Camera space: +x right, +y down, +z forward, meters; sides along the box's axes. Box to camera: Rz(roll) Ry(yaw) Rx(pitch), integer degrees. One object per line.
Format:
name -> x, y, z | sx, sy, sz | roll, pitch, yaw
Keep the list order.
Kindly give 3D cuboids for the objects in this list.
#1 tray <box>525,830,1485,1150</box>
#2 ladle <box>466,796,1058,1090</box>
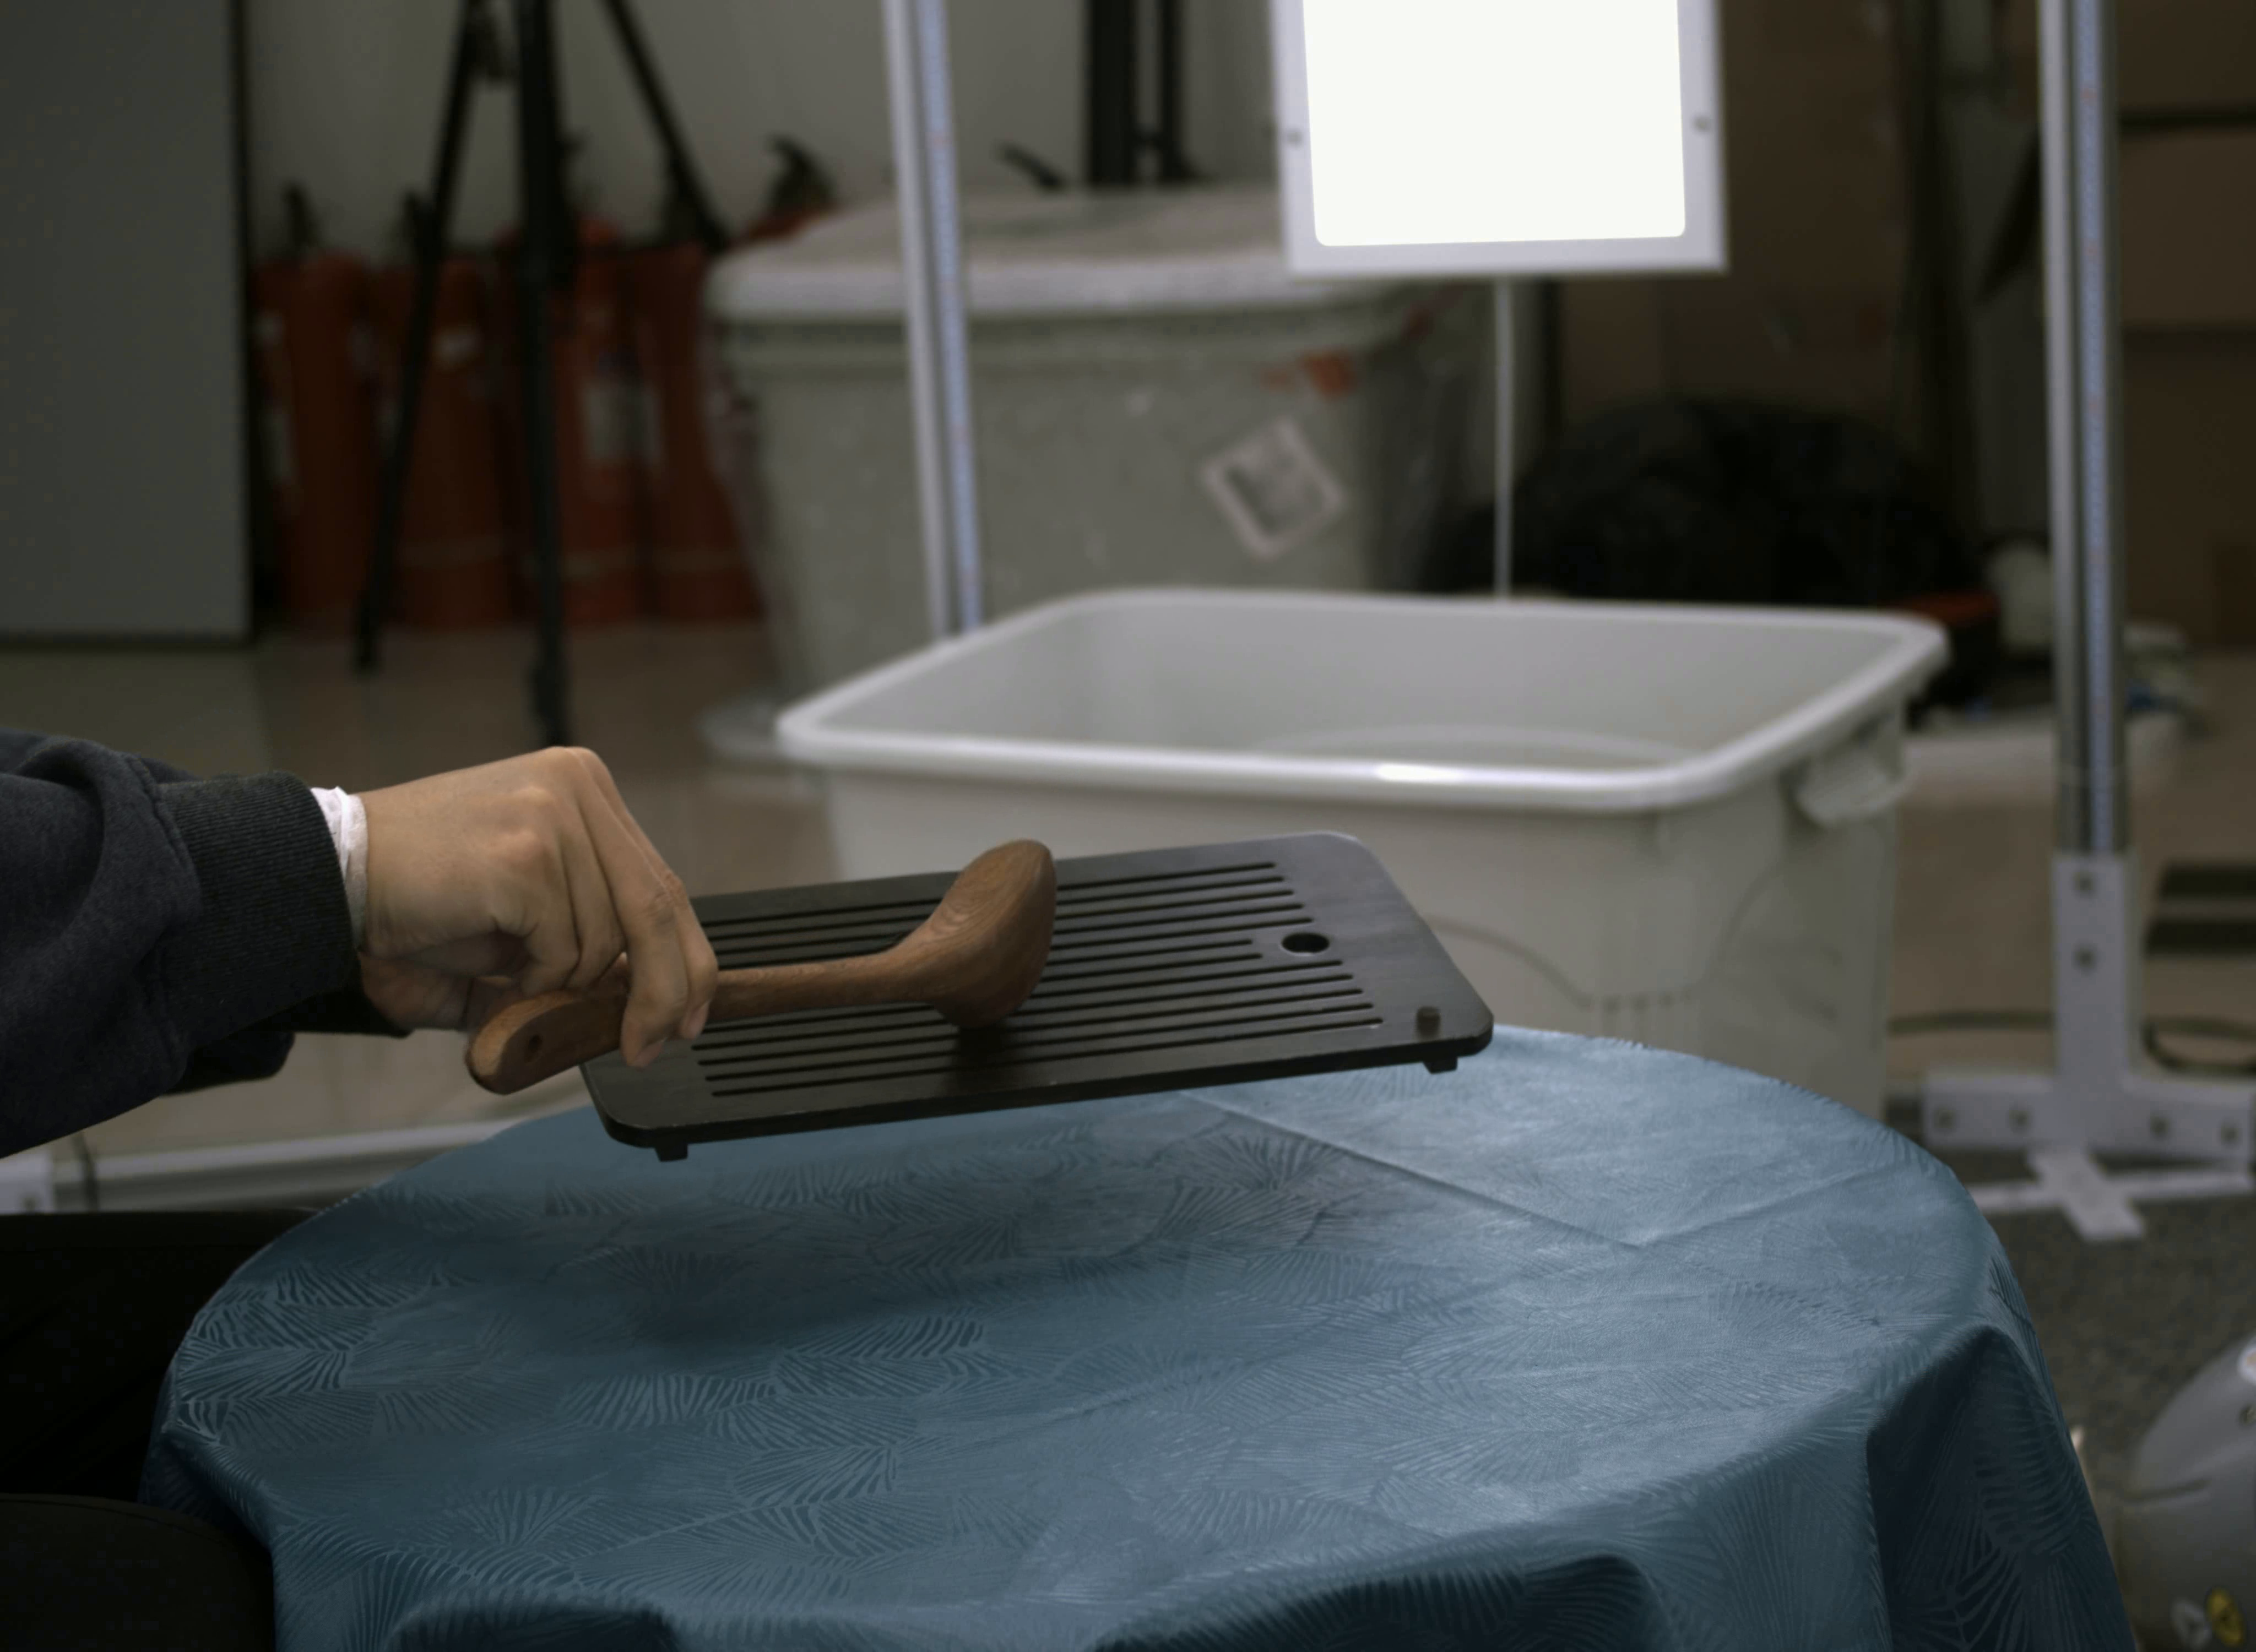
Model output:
tray -> -0.044, 0.055, 1.882 | 0.302, 0.019, 0.171 | -6, 25, -12
ladle -> -0.119, 0.044, 1.769 | 0.253, 0.077, 0.066 | -12, 23, -38
